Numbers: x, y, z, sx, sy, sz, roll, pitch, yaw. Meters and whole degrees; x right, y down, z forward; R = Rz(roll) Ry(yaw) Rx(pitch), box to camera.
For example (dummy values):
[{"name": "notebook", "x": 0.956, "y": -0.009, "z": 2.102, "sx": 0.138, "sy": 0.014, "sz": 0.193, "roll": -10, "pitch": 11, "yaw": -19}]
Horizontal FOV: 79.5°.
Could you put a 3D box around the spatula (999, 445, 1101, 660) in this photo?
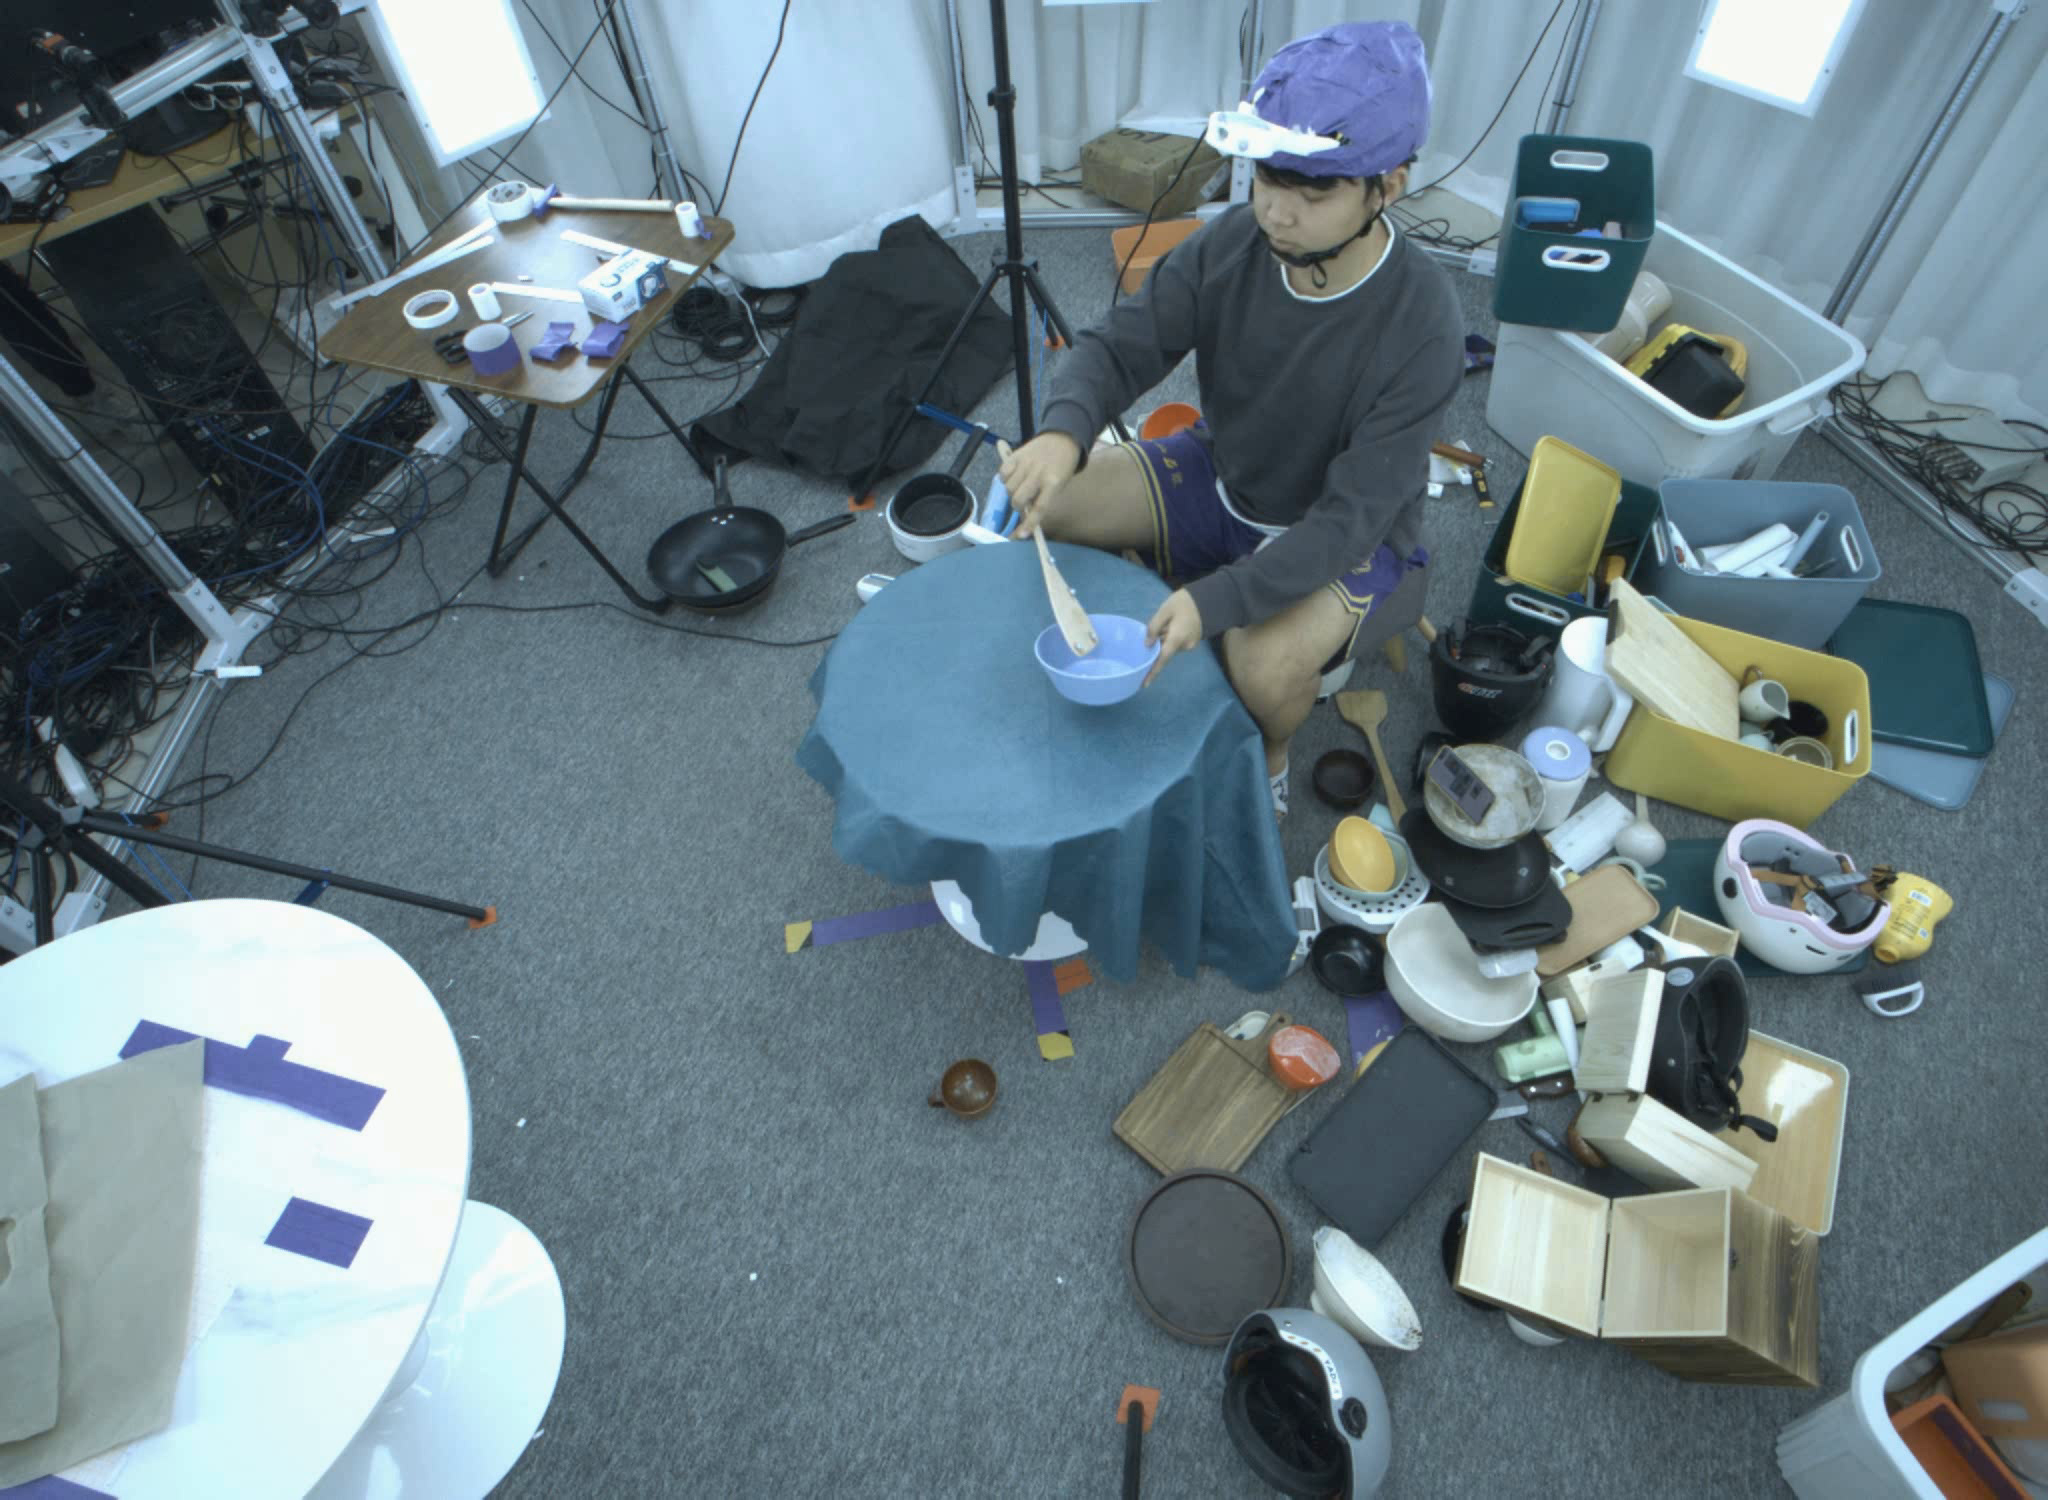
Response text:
[{"name": "spatula", "x": 0.032, "y": -0.281, "z": 1.726, "sx": 0.081, "sy": 0.016, "sz": 0.328, "roll": -27, "pitch": 97, "yaw": -56}]

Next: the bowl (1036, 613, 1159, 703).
[{"name": "bowl", "x": 0.105, "y": -0.125, "z": 1.756, "sx": 0.176, "sy": 0.071, "sz": 0.174, "roll": -1, "pitch": 35, "yaw": 2}]
